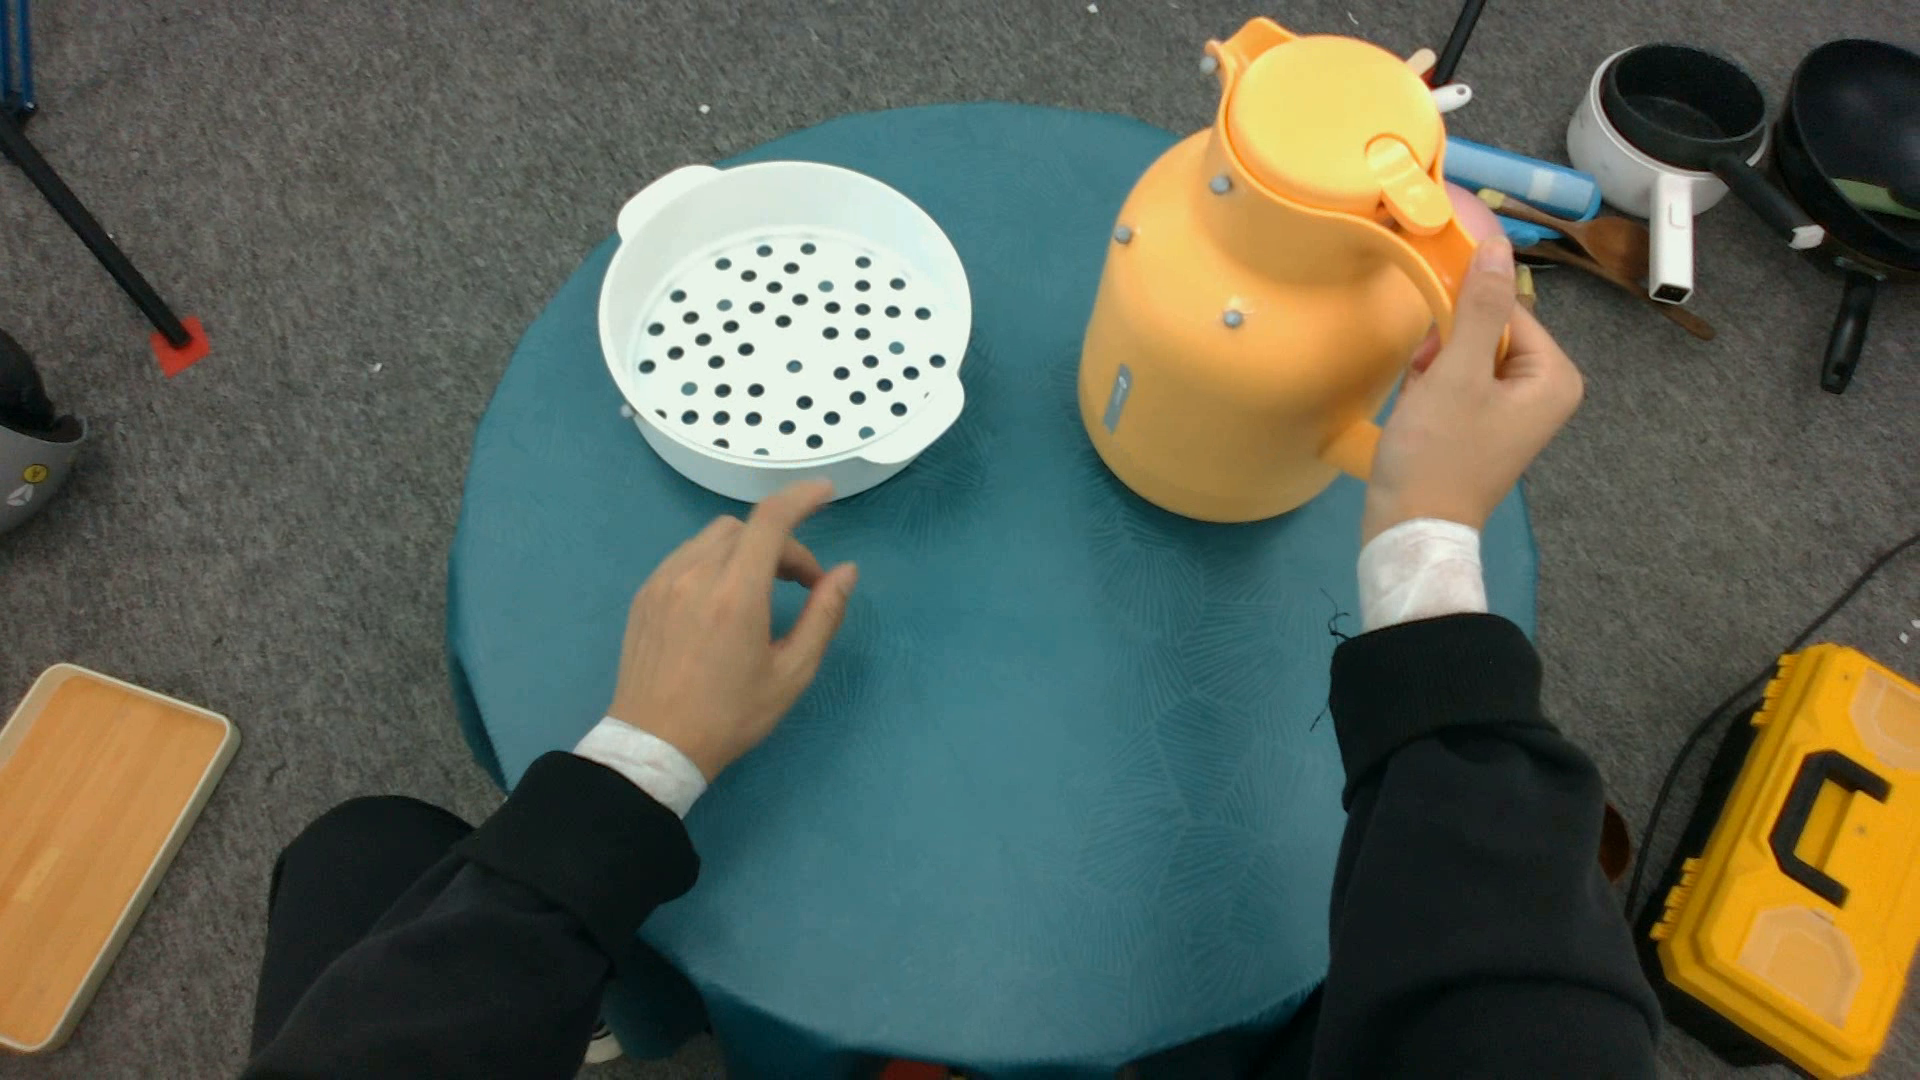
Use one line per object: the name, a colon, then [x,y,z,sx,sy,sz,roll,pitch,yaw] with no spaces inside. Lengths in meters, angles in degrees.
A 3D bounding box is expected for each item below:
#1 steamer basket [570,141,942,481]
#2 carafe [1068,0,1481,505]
steamer basket: [-0.111,-0.128,0.772,0.230,0.069,0.202,40,68,18]
carafe: [0.153,-0.121,0.683,0.164,0.259,0.202,-29,68,-13]
